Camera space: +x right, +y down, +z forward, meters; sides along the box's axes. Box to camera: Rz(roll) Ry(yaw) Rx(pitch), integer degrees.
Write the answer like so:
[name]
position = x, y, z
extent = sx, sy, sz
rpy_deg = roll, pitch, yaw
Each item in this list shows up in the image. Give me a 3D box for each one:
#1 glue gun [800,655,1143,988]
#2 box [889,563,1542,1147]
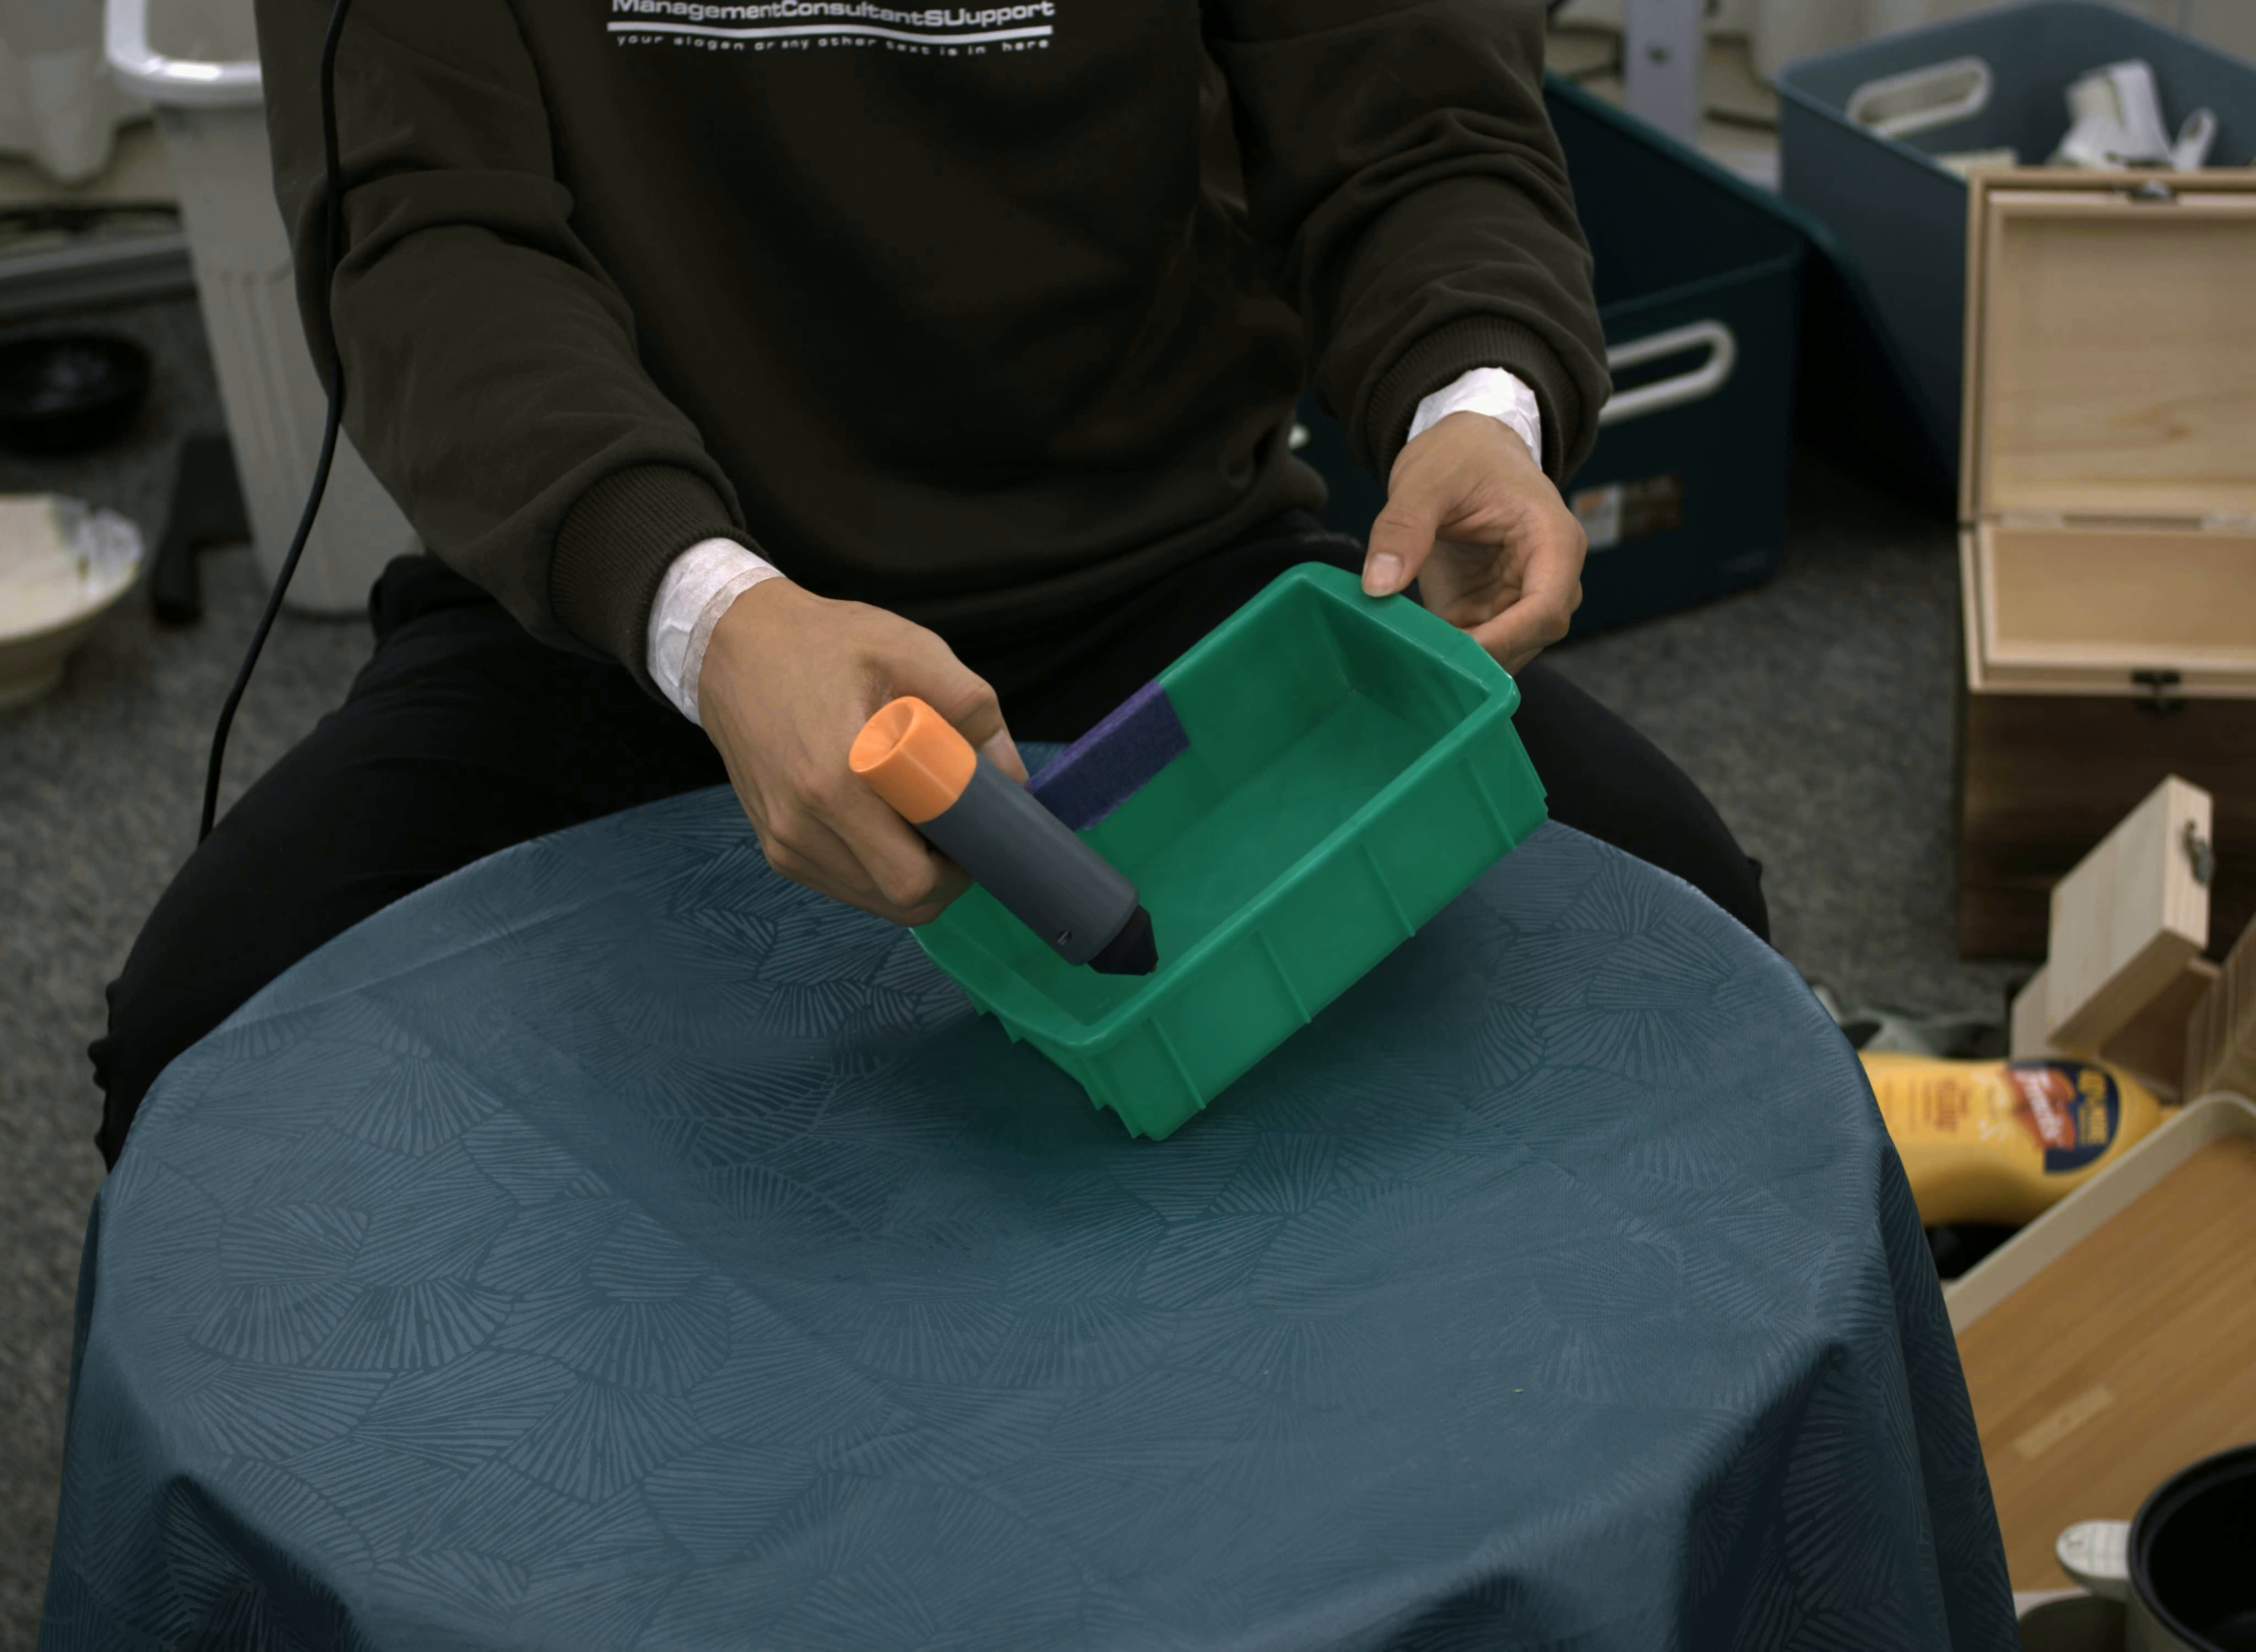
[glue gun]
position = -0.054, -0.003, 1.897
extent = 0.041, 0.117, 0.140
rpy_deg = -44, 27, -5
[box]
position = 0.035, 0.012, 1.940
extent = 0.212, 0.064, 0.139
rpy_deg = -41, 37, -14
